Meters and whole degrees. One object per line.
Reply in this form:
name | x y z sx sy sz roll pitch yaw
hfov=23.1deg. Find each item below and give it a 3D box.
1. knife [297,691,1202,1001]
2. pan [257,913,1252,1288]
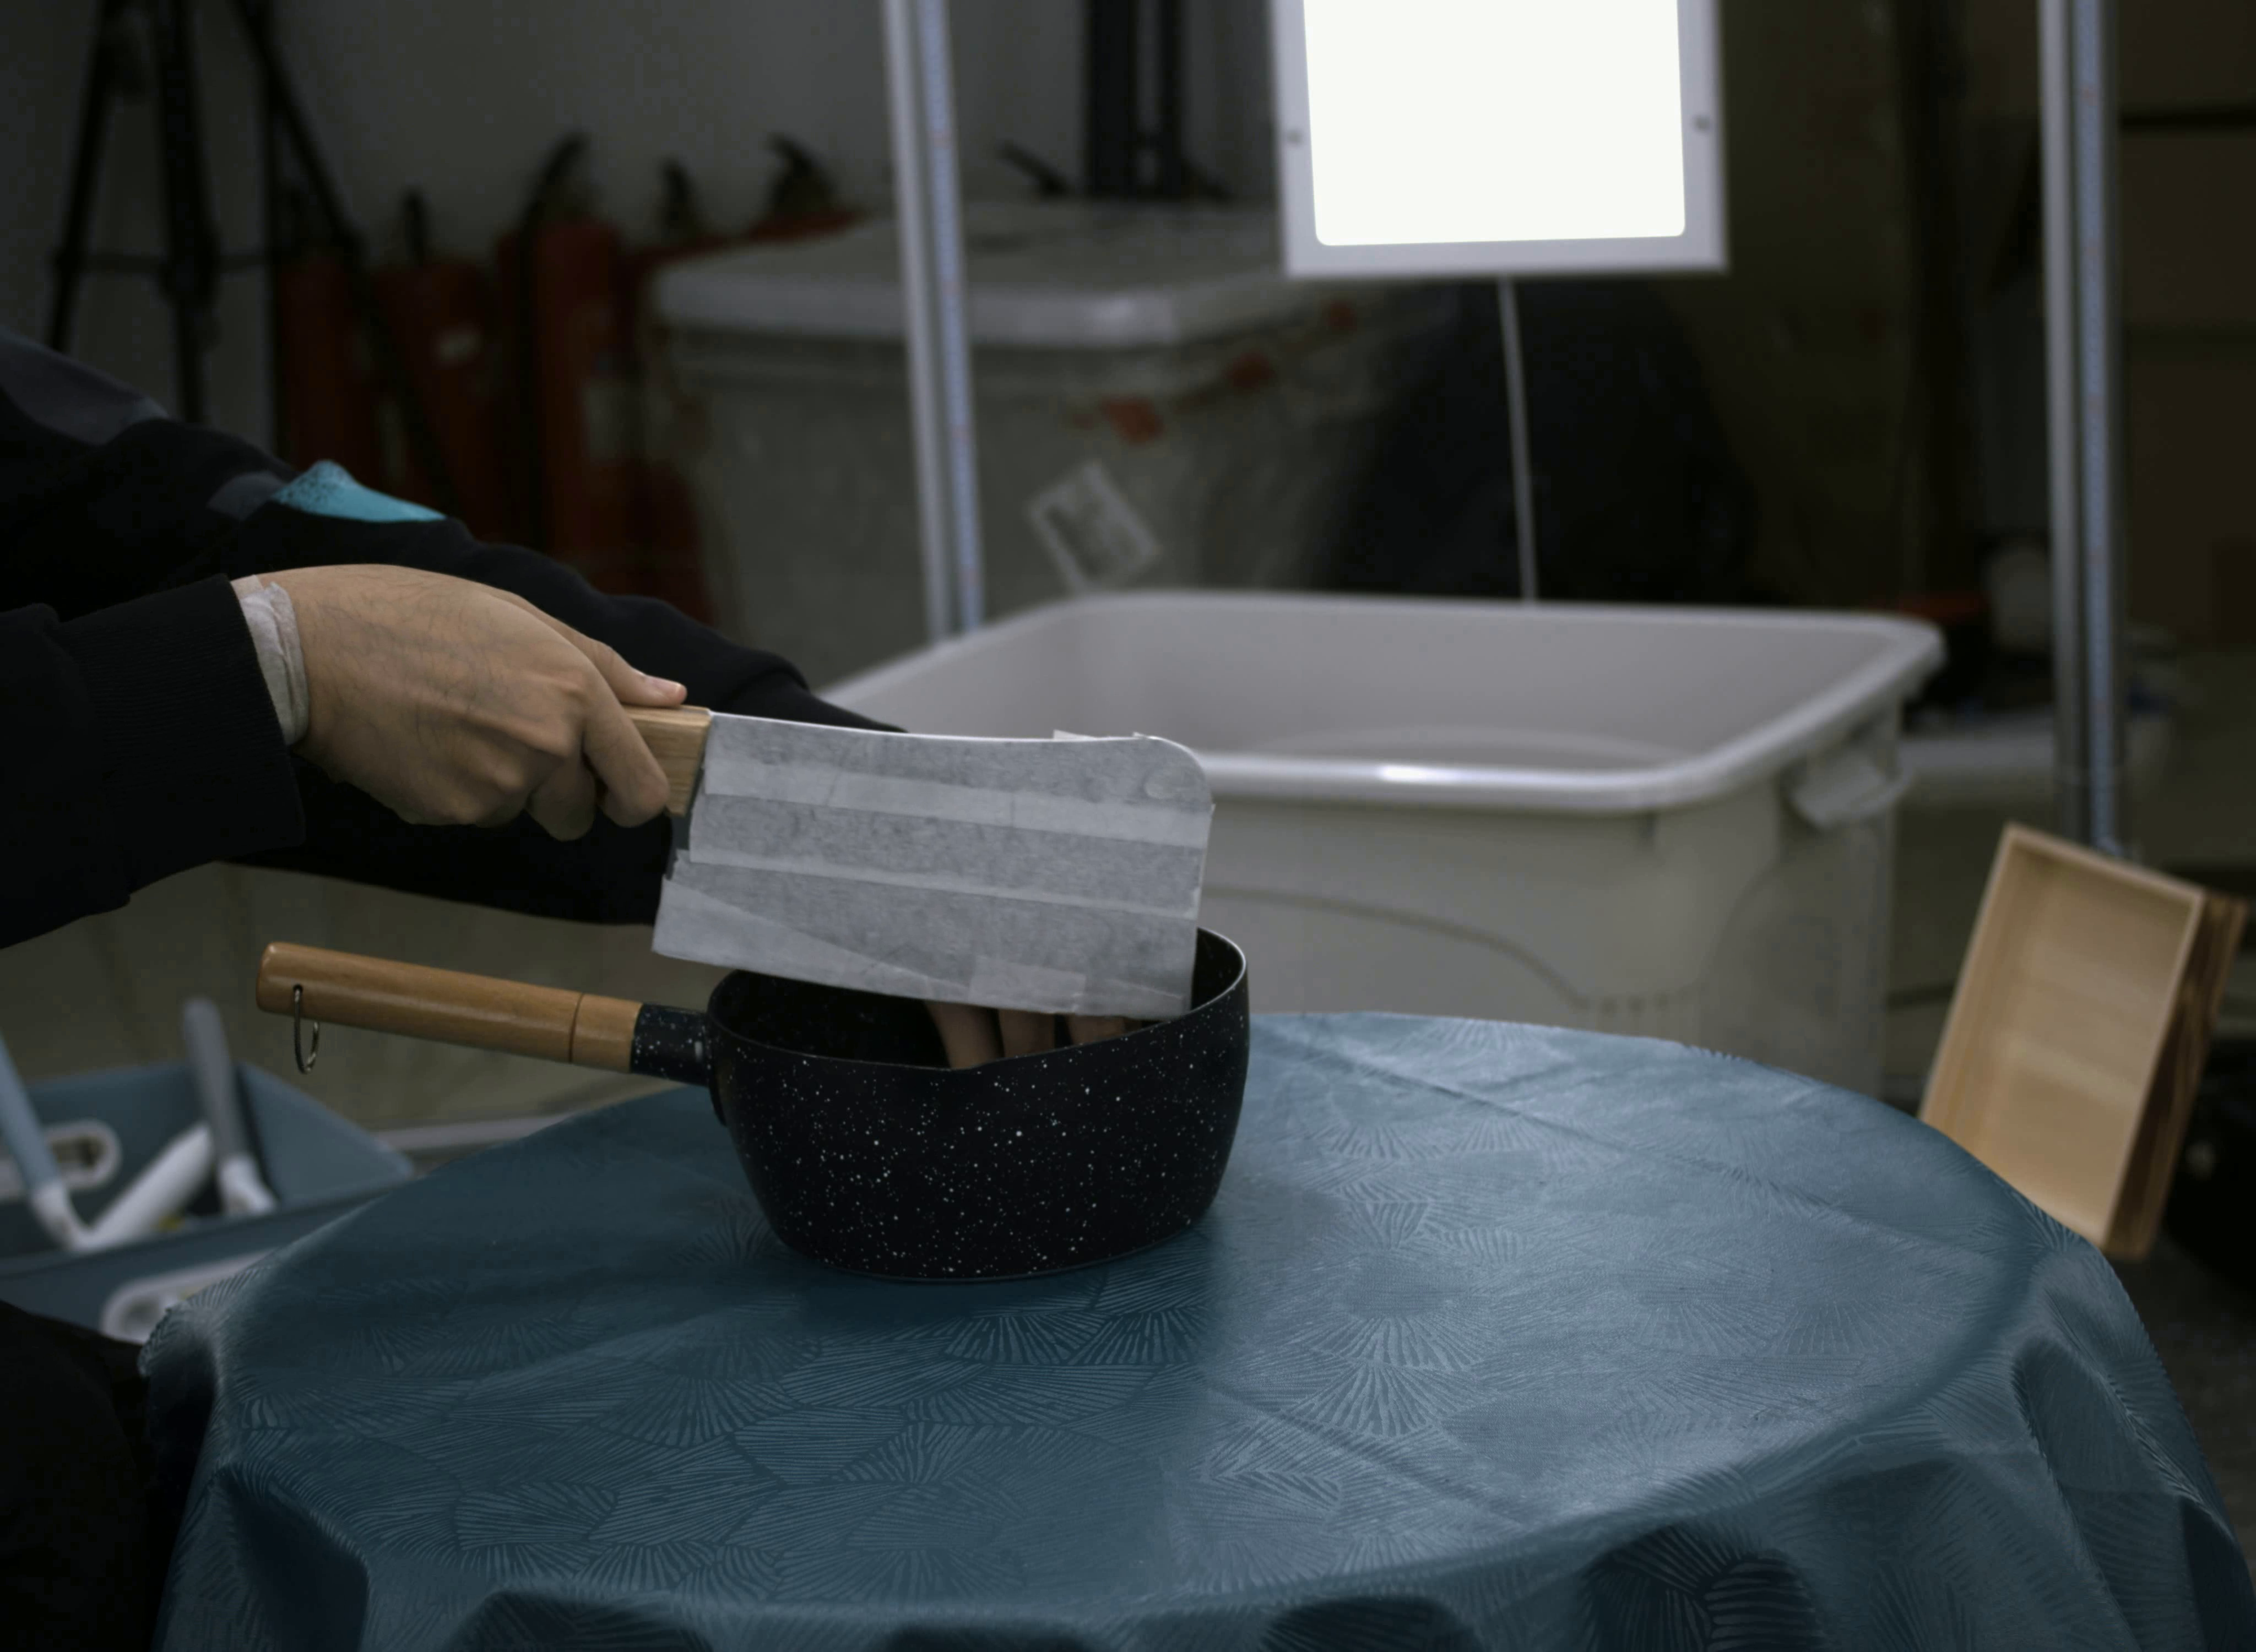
knife | -0.121 -0.004 1.834 0.312 0.115 0.022 11 15 -10
pan | -0.127 0.085 1.882 0.343 0.108 0.206 -2 15 6
